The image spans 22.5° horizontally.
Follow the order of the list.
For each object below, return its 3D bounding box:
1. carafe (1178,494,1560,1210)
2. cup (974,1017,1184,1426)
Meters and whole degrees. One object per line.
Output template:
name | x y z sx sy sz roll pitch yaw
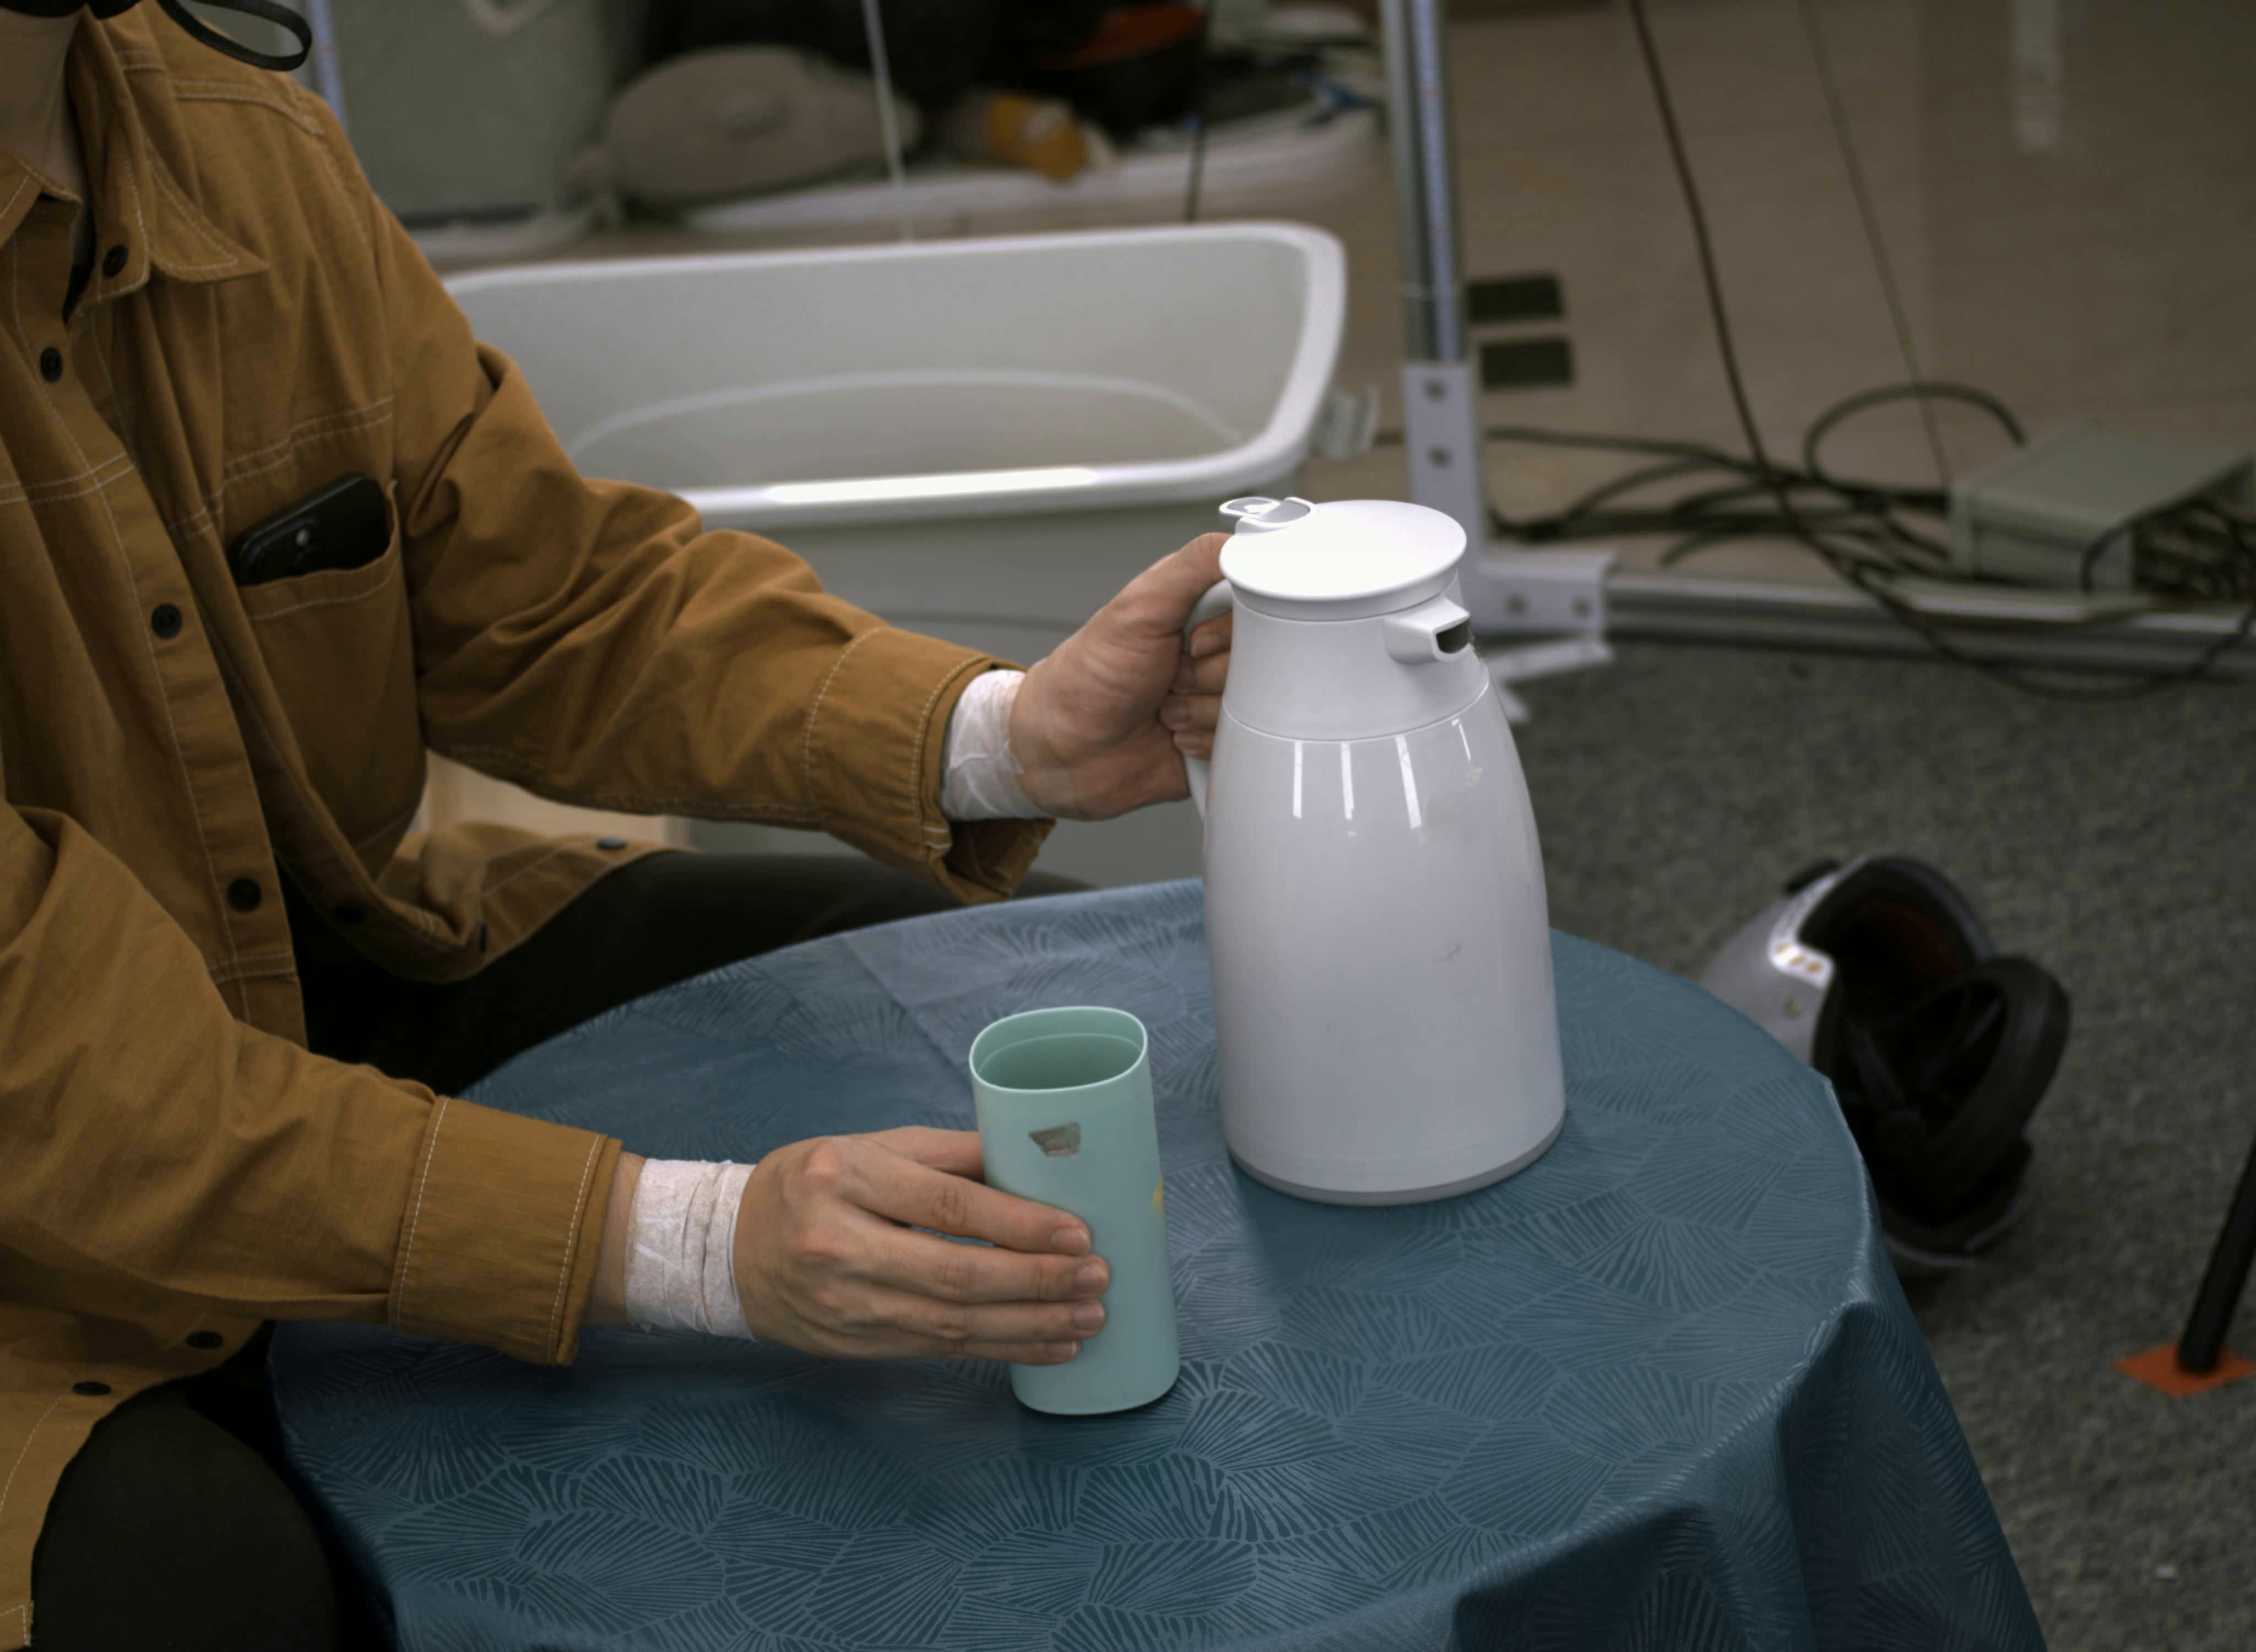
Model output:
carafe | 0.078 0.000 2.136 0.131 0.252 0.166 -22 29 -31
cup | -0.018 0.139 1.999 0.066 0.134 0.066 -5 26 2
